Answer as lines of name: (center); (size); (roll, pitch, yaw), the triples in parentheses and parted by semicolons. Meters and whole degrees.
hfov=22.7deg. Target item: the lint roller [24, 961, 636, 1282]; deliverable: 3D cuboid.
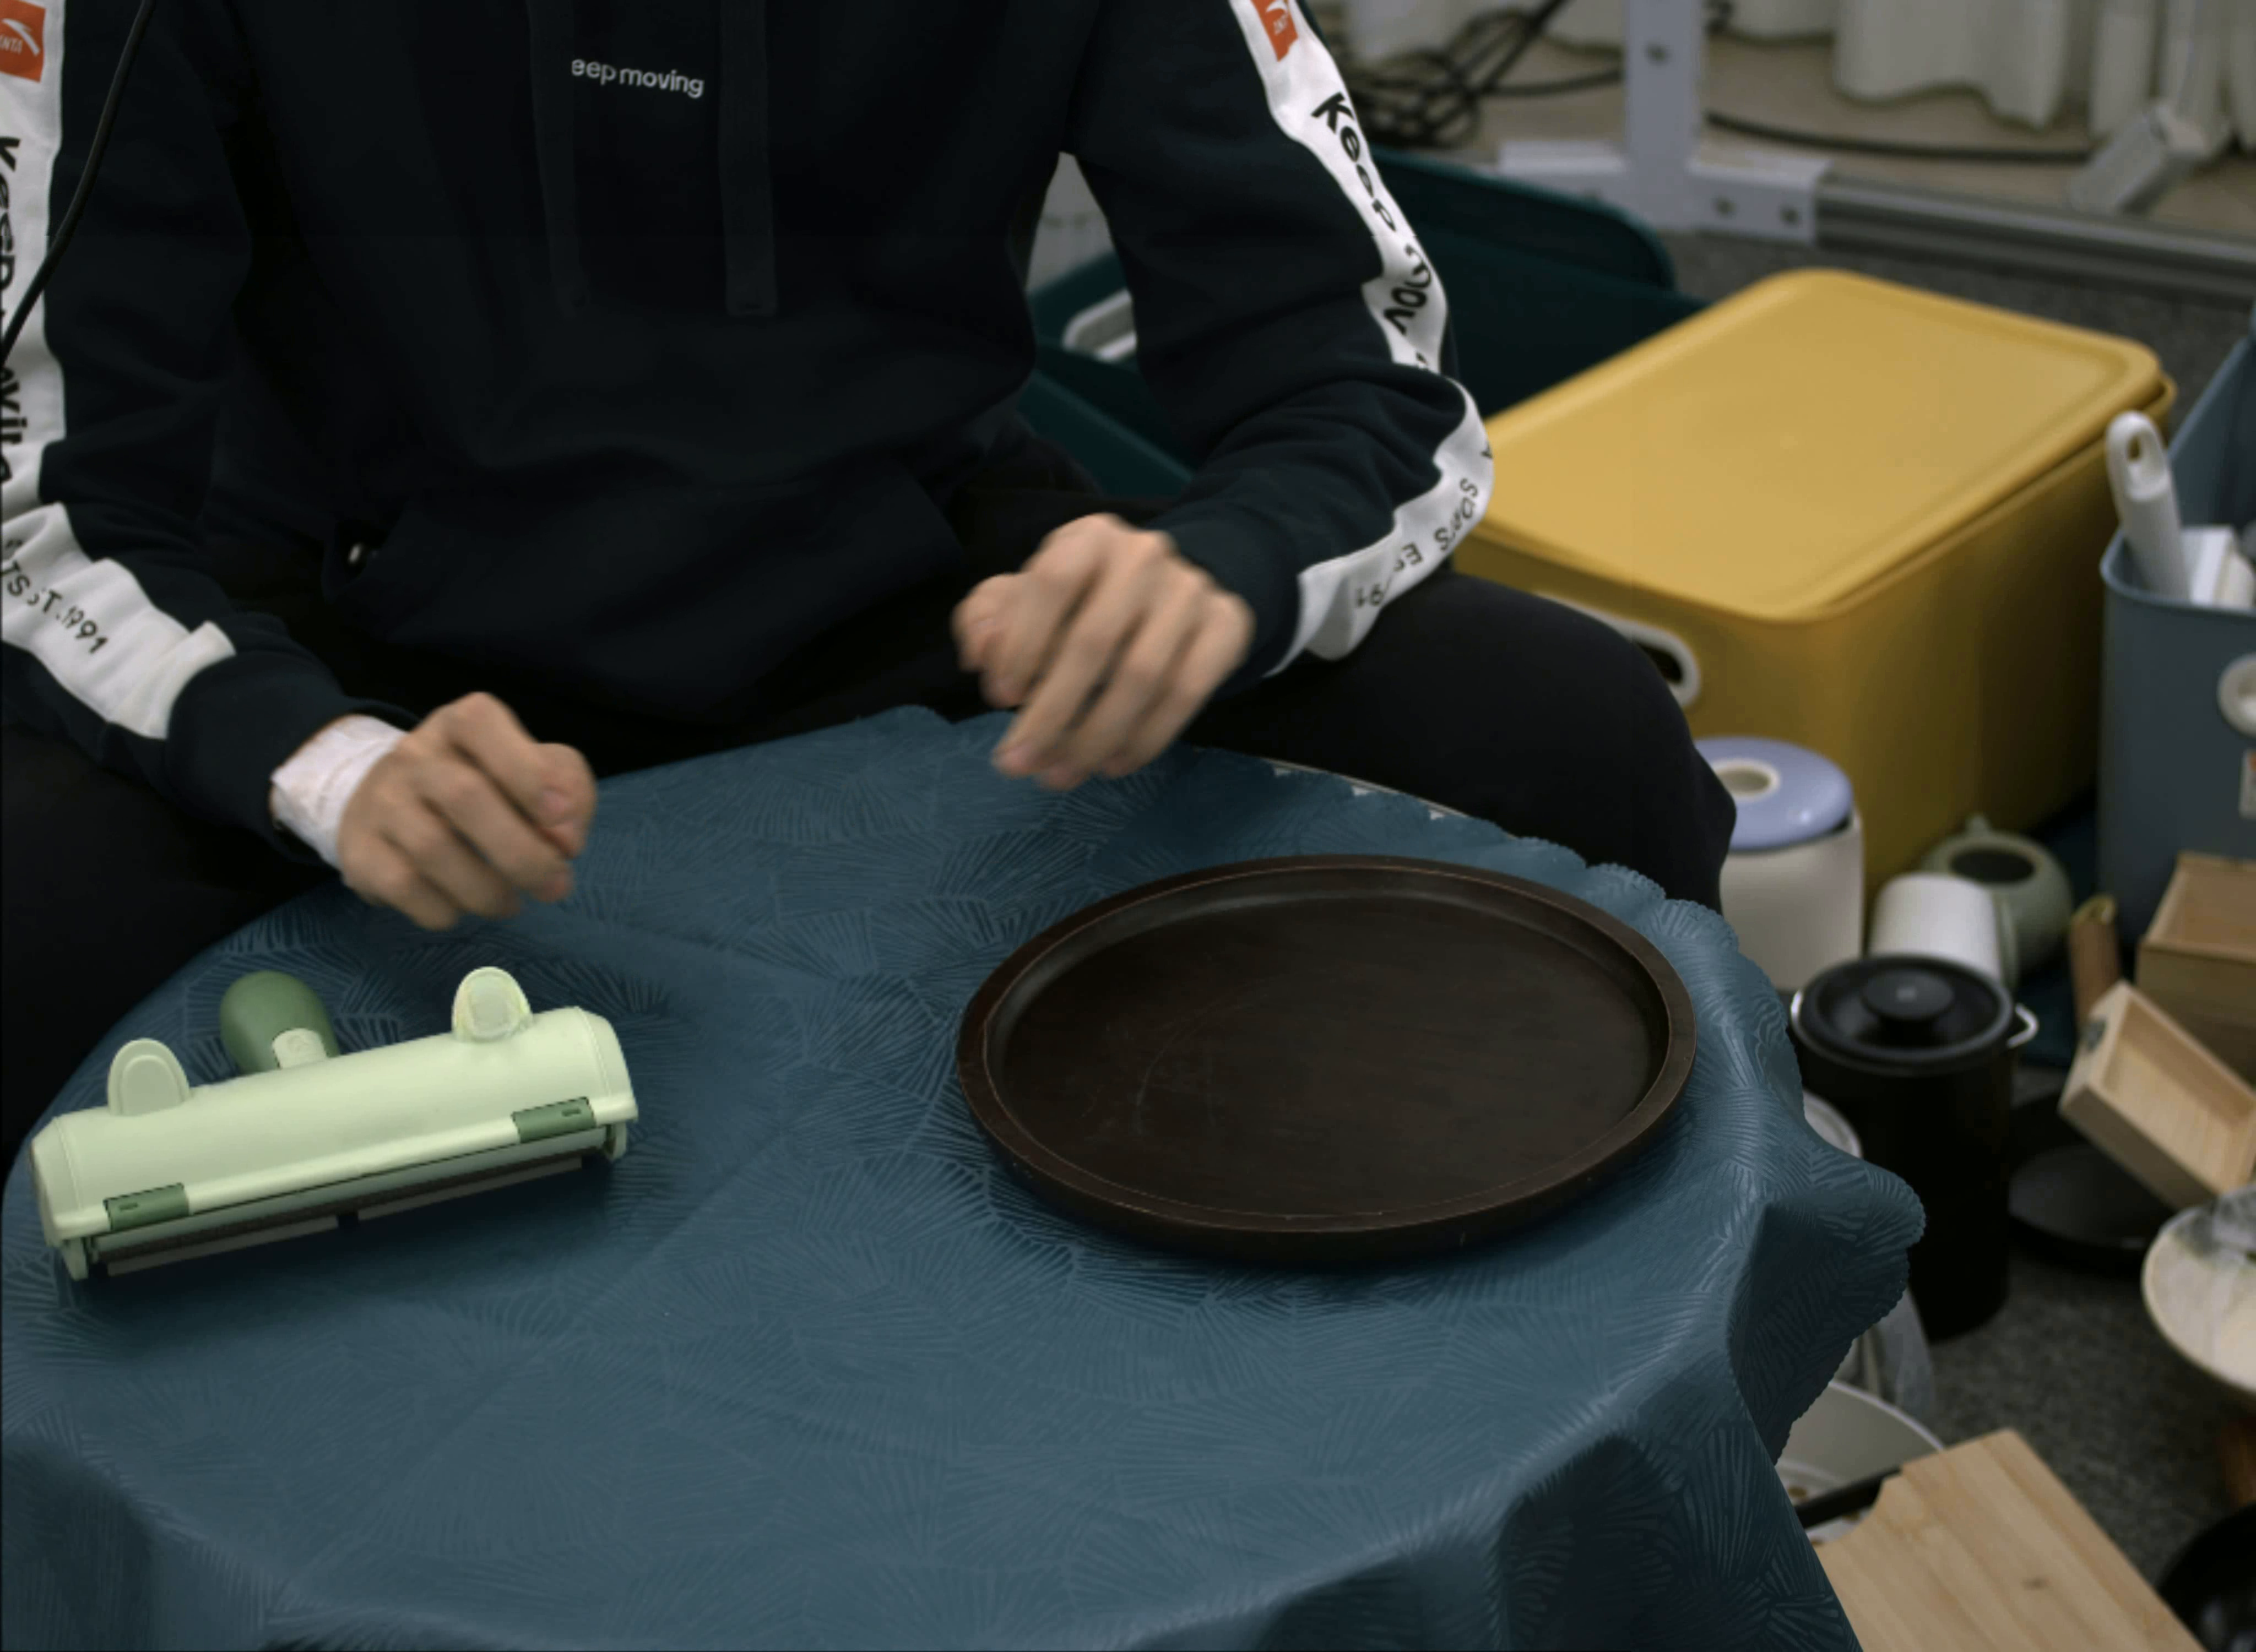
lint roller: (-0.281, 0.073, 1.897); (0.199, 0.081, 0.185); (-12, 32, -16)

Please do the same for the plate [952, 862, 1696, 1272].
plate: (0.066, 0.079, 1.909); (0.253, 0.029, 0.259); (-3, 27, 2)
